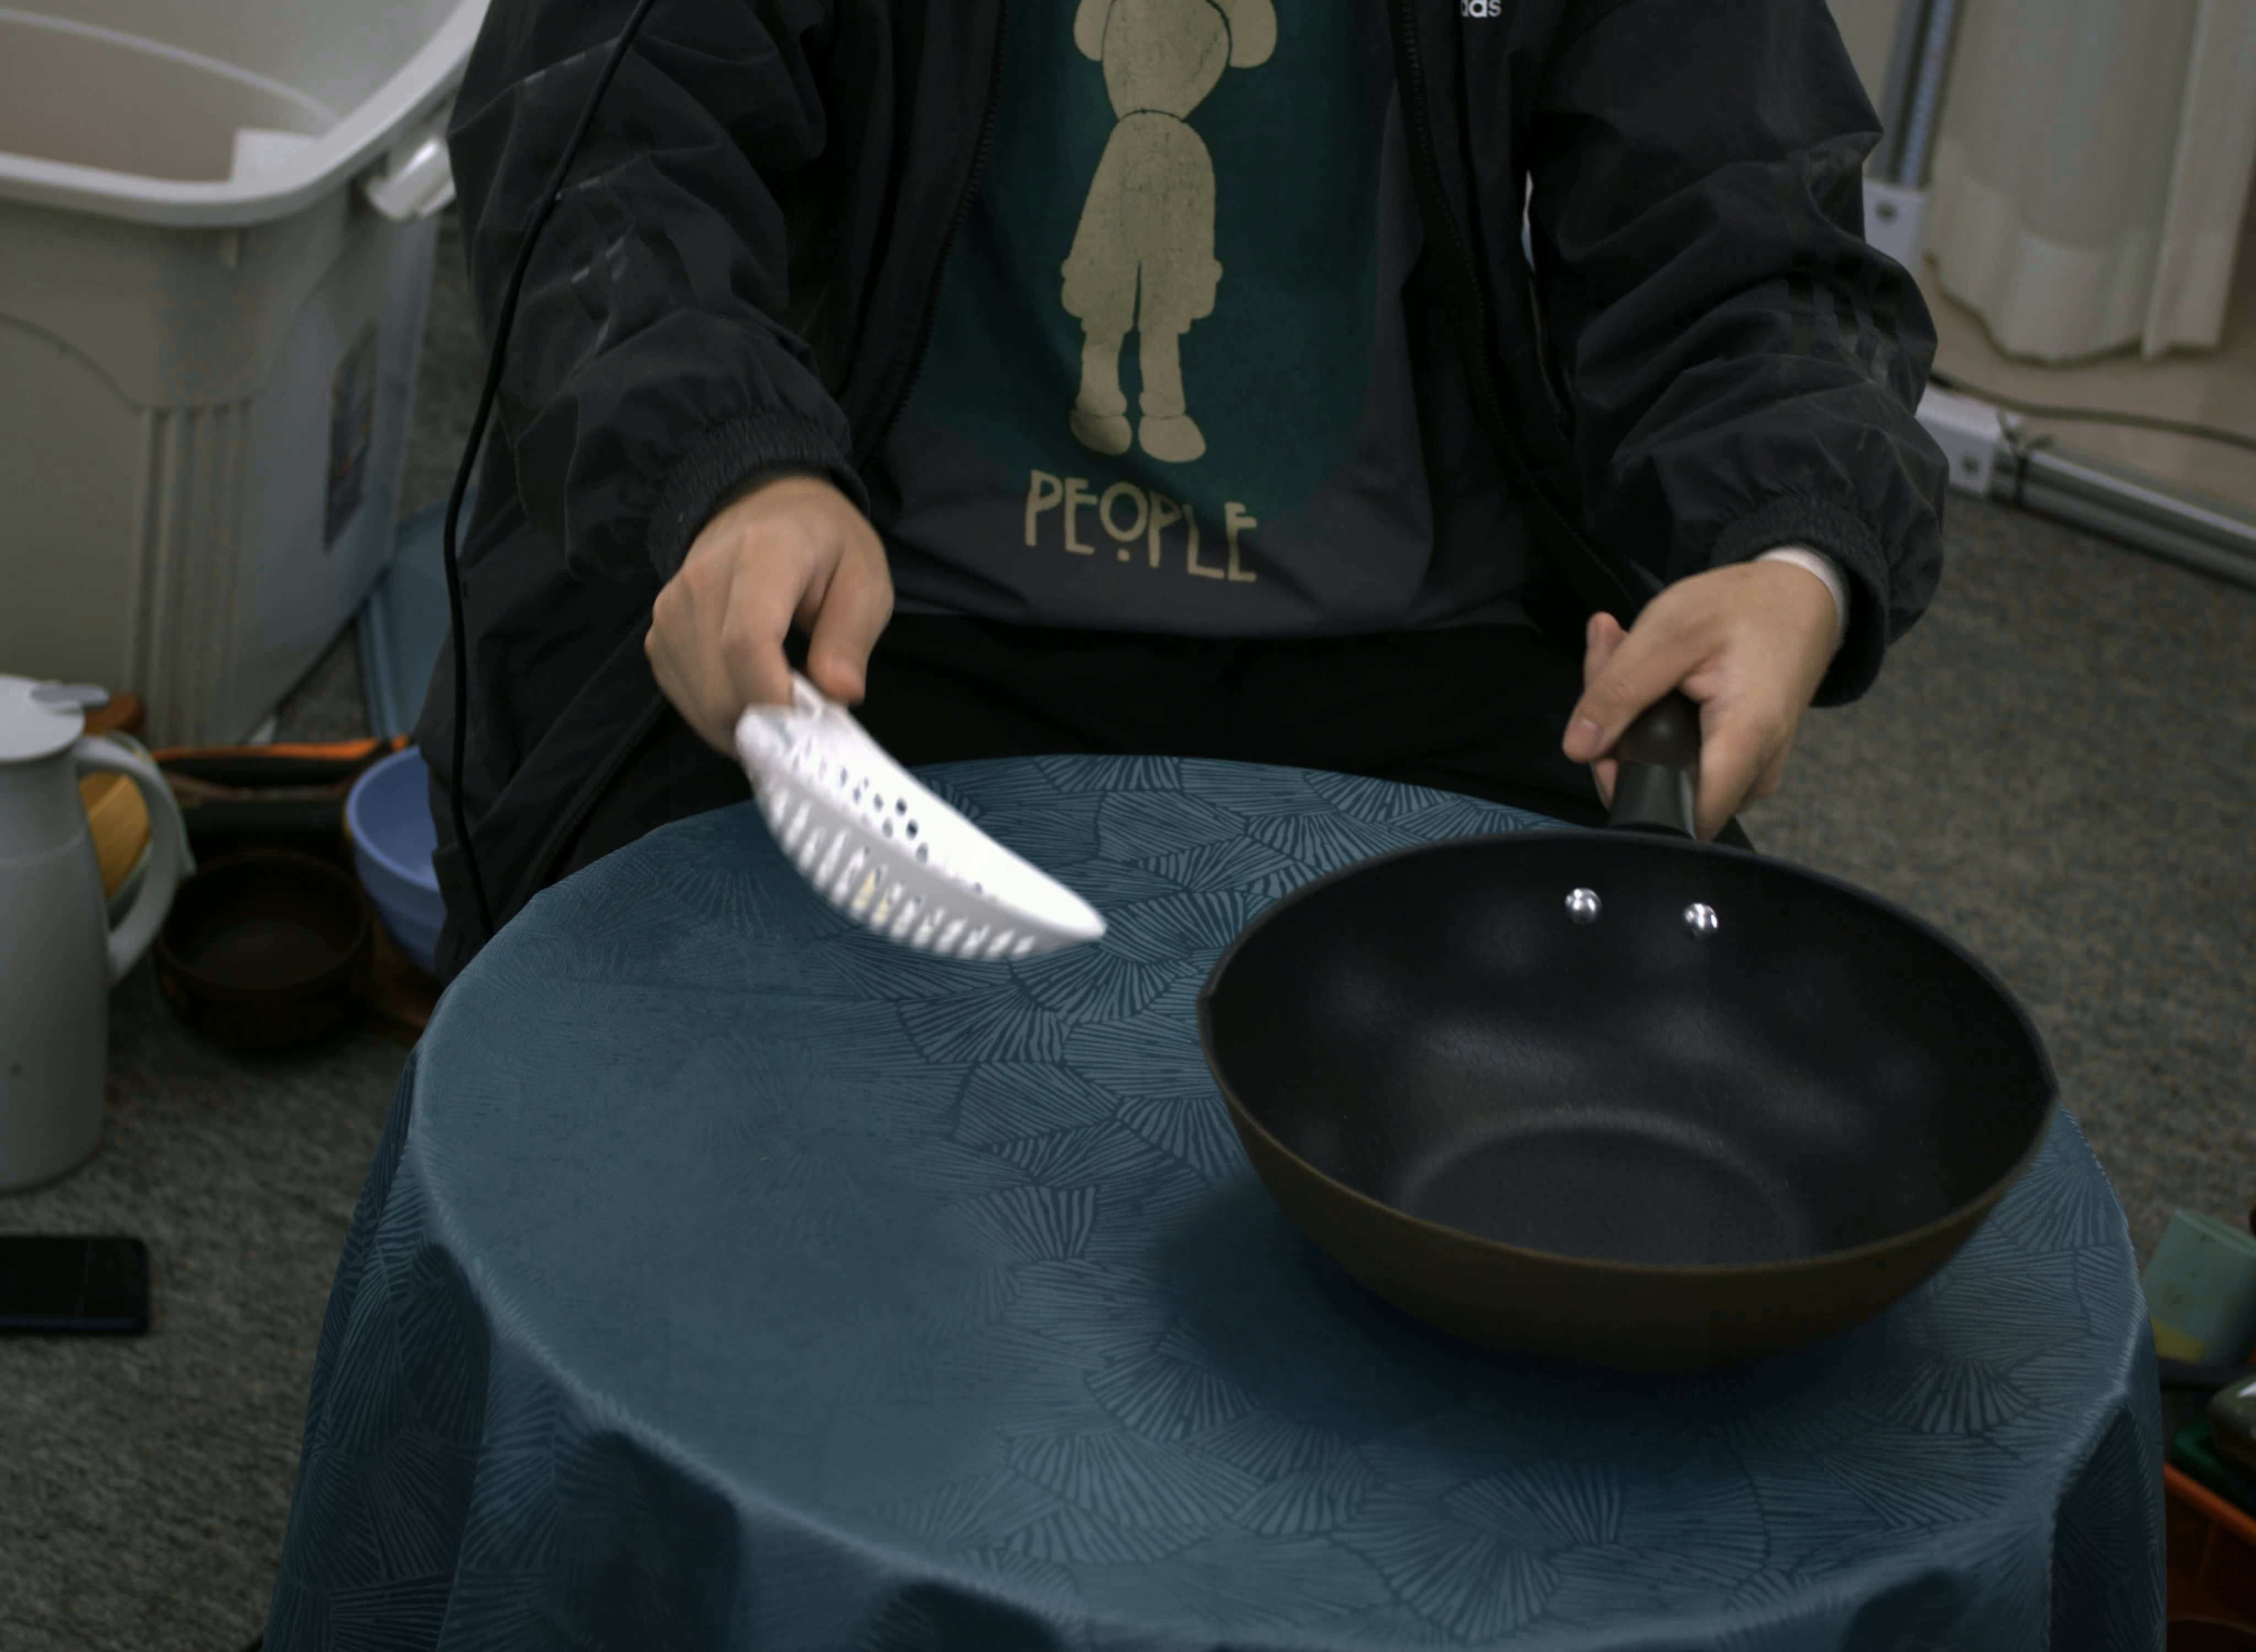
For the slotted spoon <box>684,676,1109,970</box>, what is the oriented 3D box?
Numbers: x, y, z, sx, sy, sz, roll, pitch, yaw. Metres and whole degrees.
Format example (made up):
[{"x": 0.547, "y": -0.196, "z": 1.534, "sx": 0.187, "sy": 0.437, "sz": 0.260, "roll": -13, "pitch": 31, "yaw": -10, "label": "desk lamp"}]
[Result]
[{"x": -0.102, "y": -0.014, "z": 1.815, "sx": 0.136, "sy": 0.050, "sz": 0.350, "roll": 25, "pitch": 10, "yaw": -20, "label": "slotted spoon"}]

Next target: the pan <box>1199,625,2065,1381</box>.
[{"x": 0.176, "y": 0.062, "z": 1.856, "sx": 0.288, "sy": 0.086, "sz": 0.465, "roll": 7, "pitch": 29, "yaw": 6, "label": "pan"}]
